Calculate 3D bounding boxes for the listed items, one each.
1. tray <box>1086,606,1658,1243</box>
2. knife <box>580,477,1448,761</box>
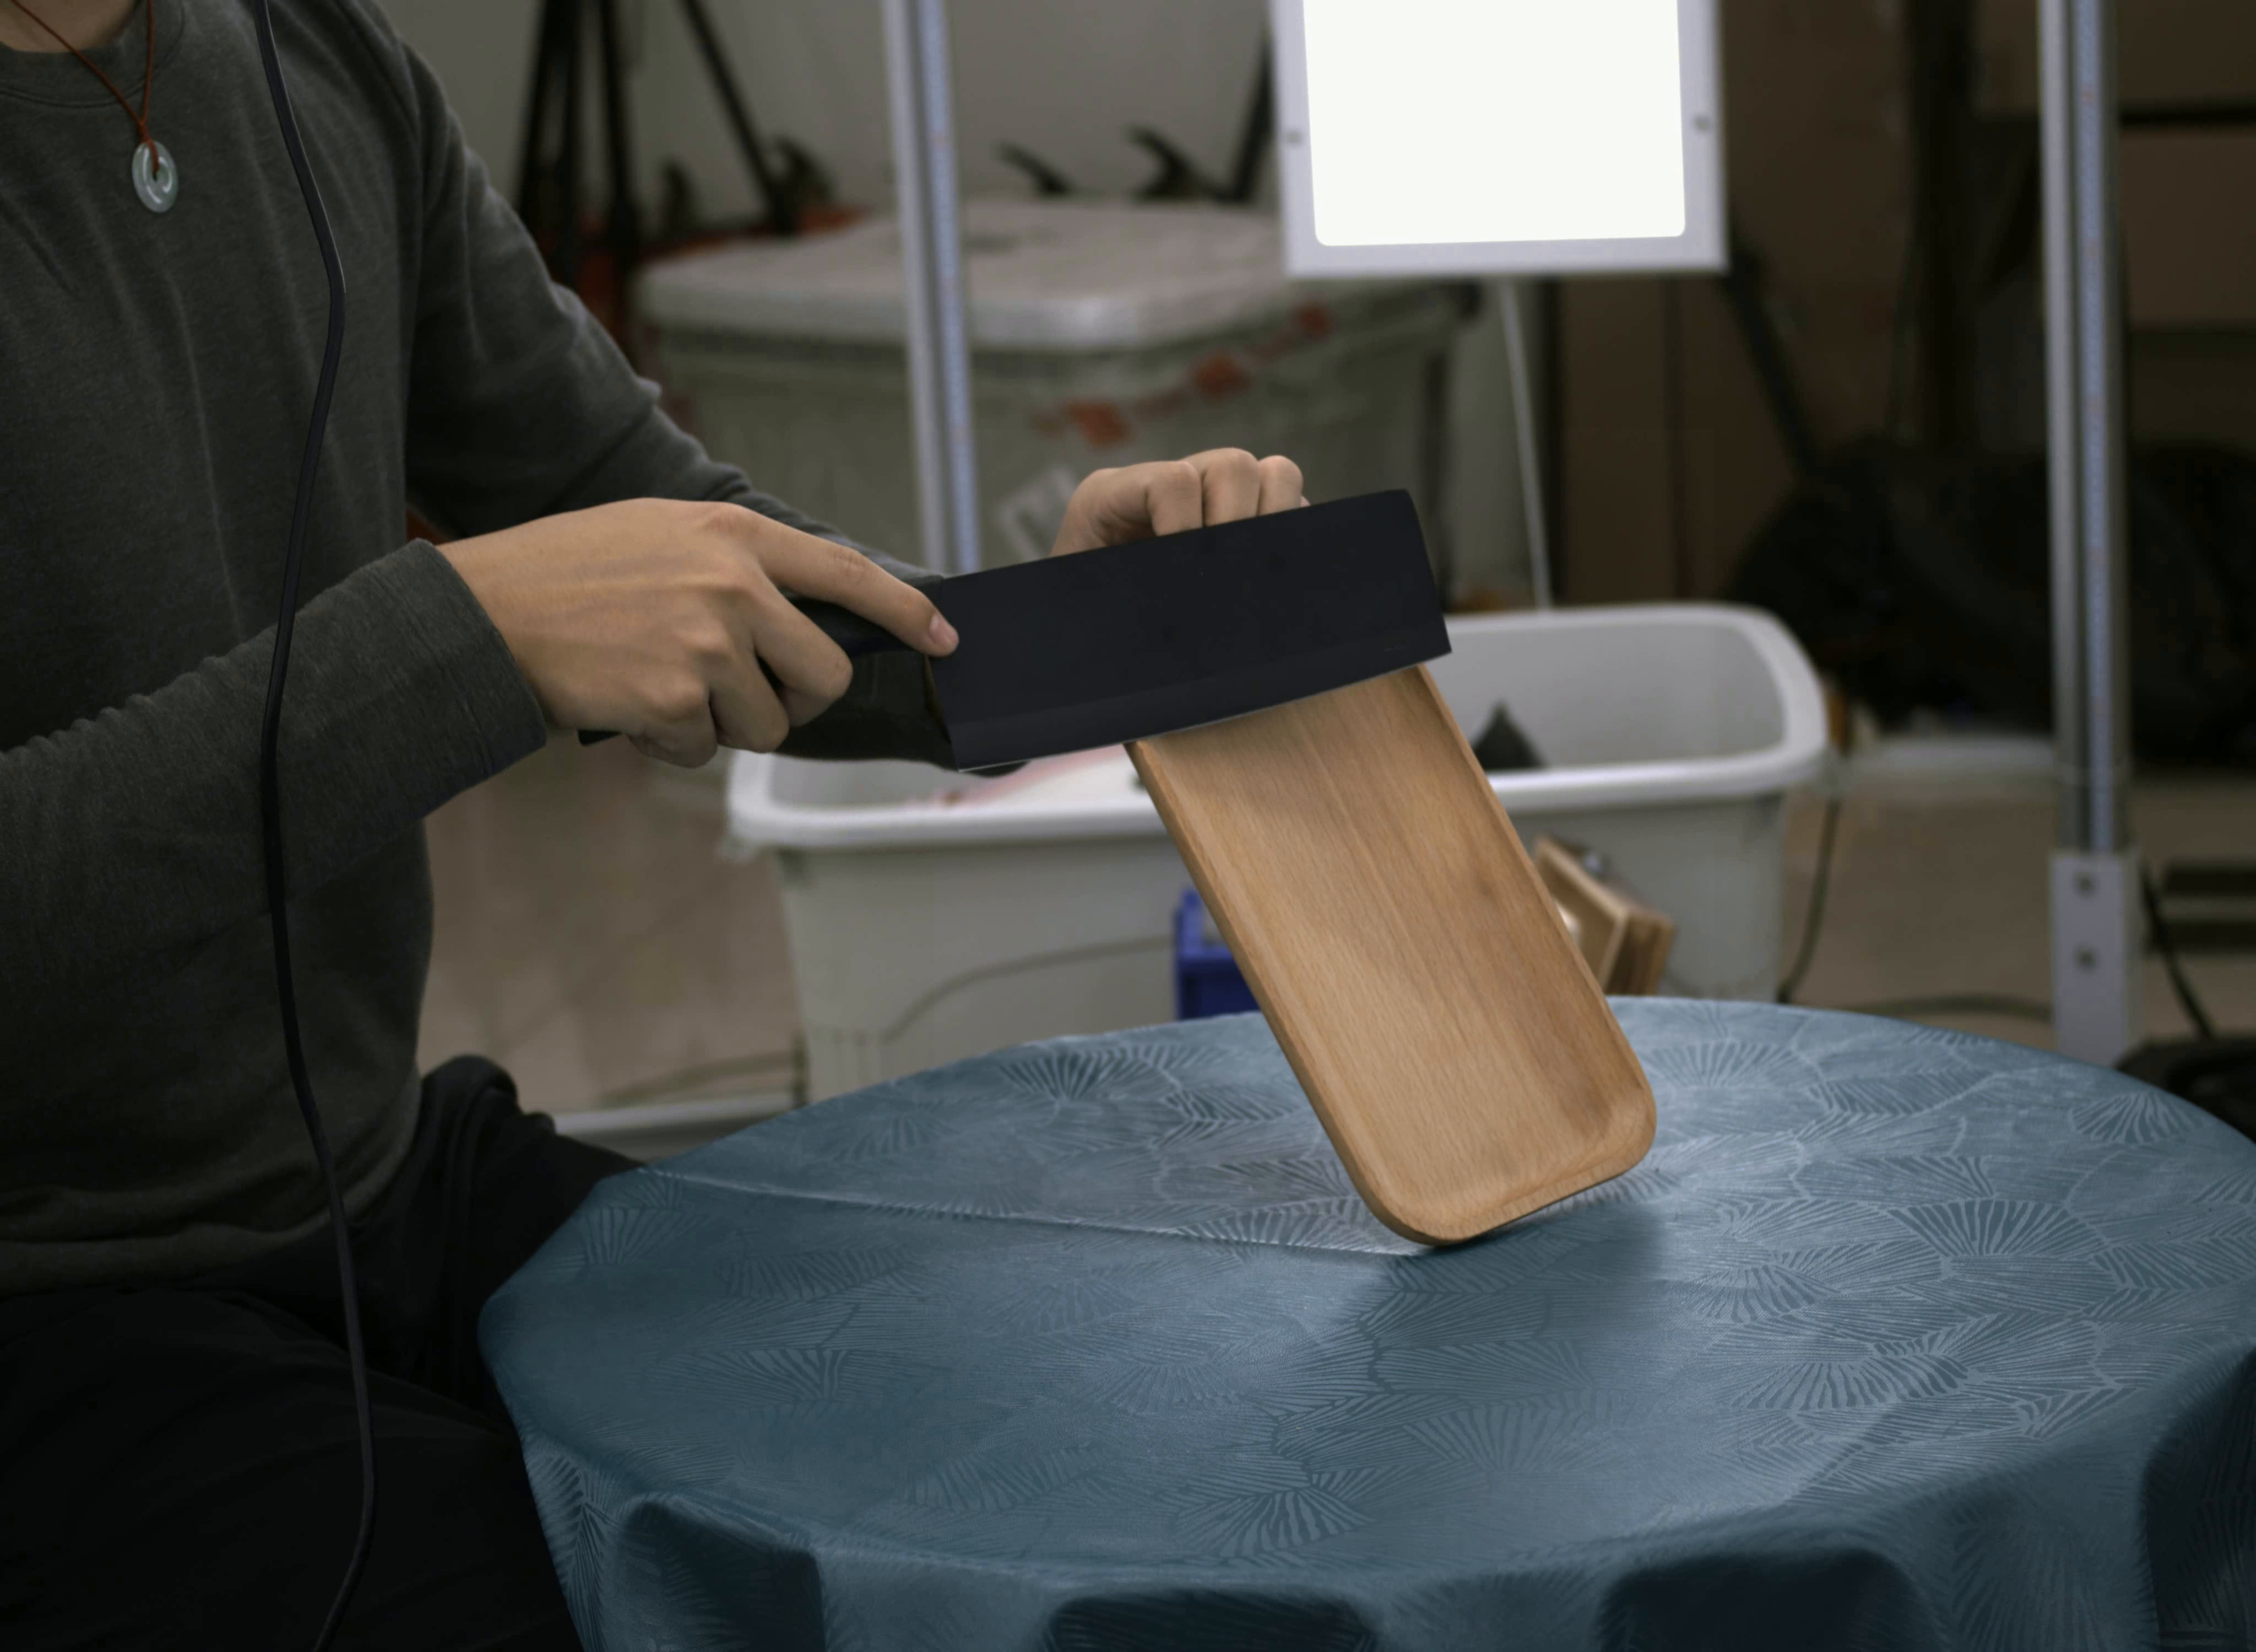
[{"bbox_3d":[0.081,0.019,1.862,0.127,0.252,0.023,-17,-17,-35],"label":"tray"},{"bbox_3d":[-0.037,-0.060,1.836,0.298,0.081,0.021,-9,-10,-14],"label":"knife"}]
